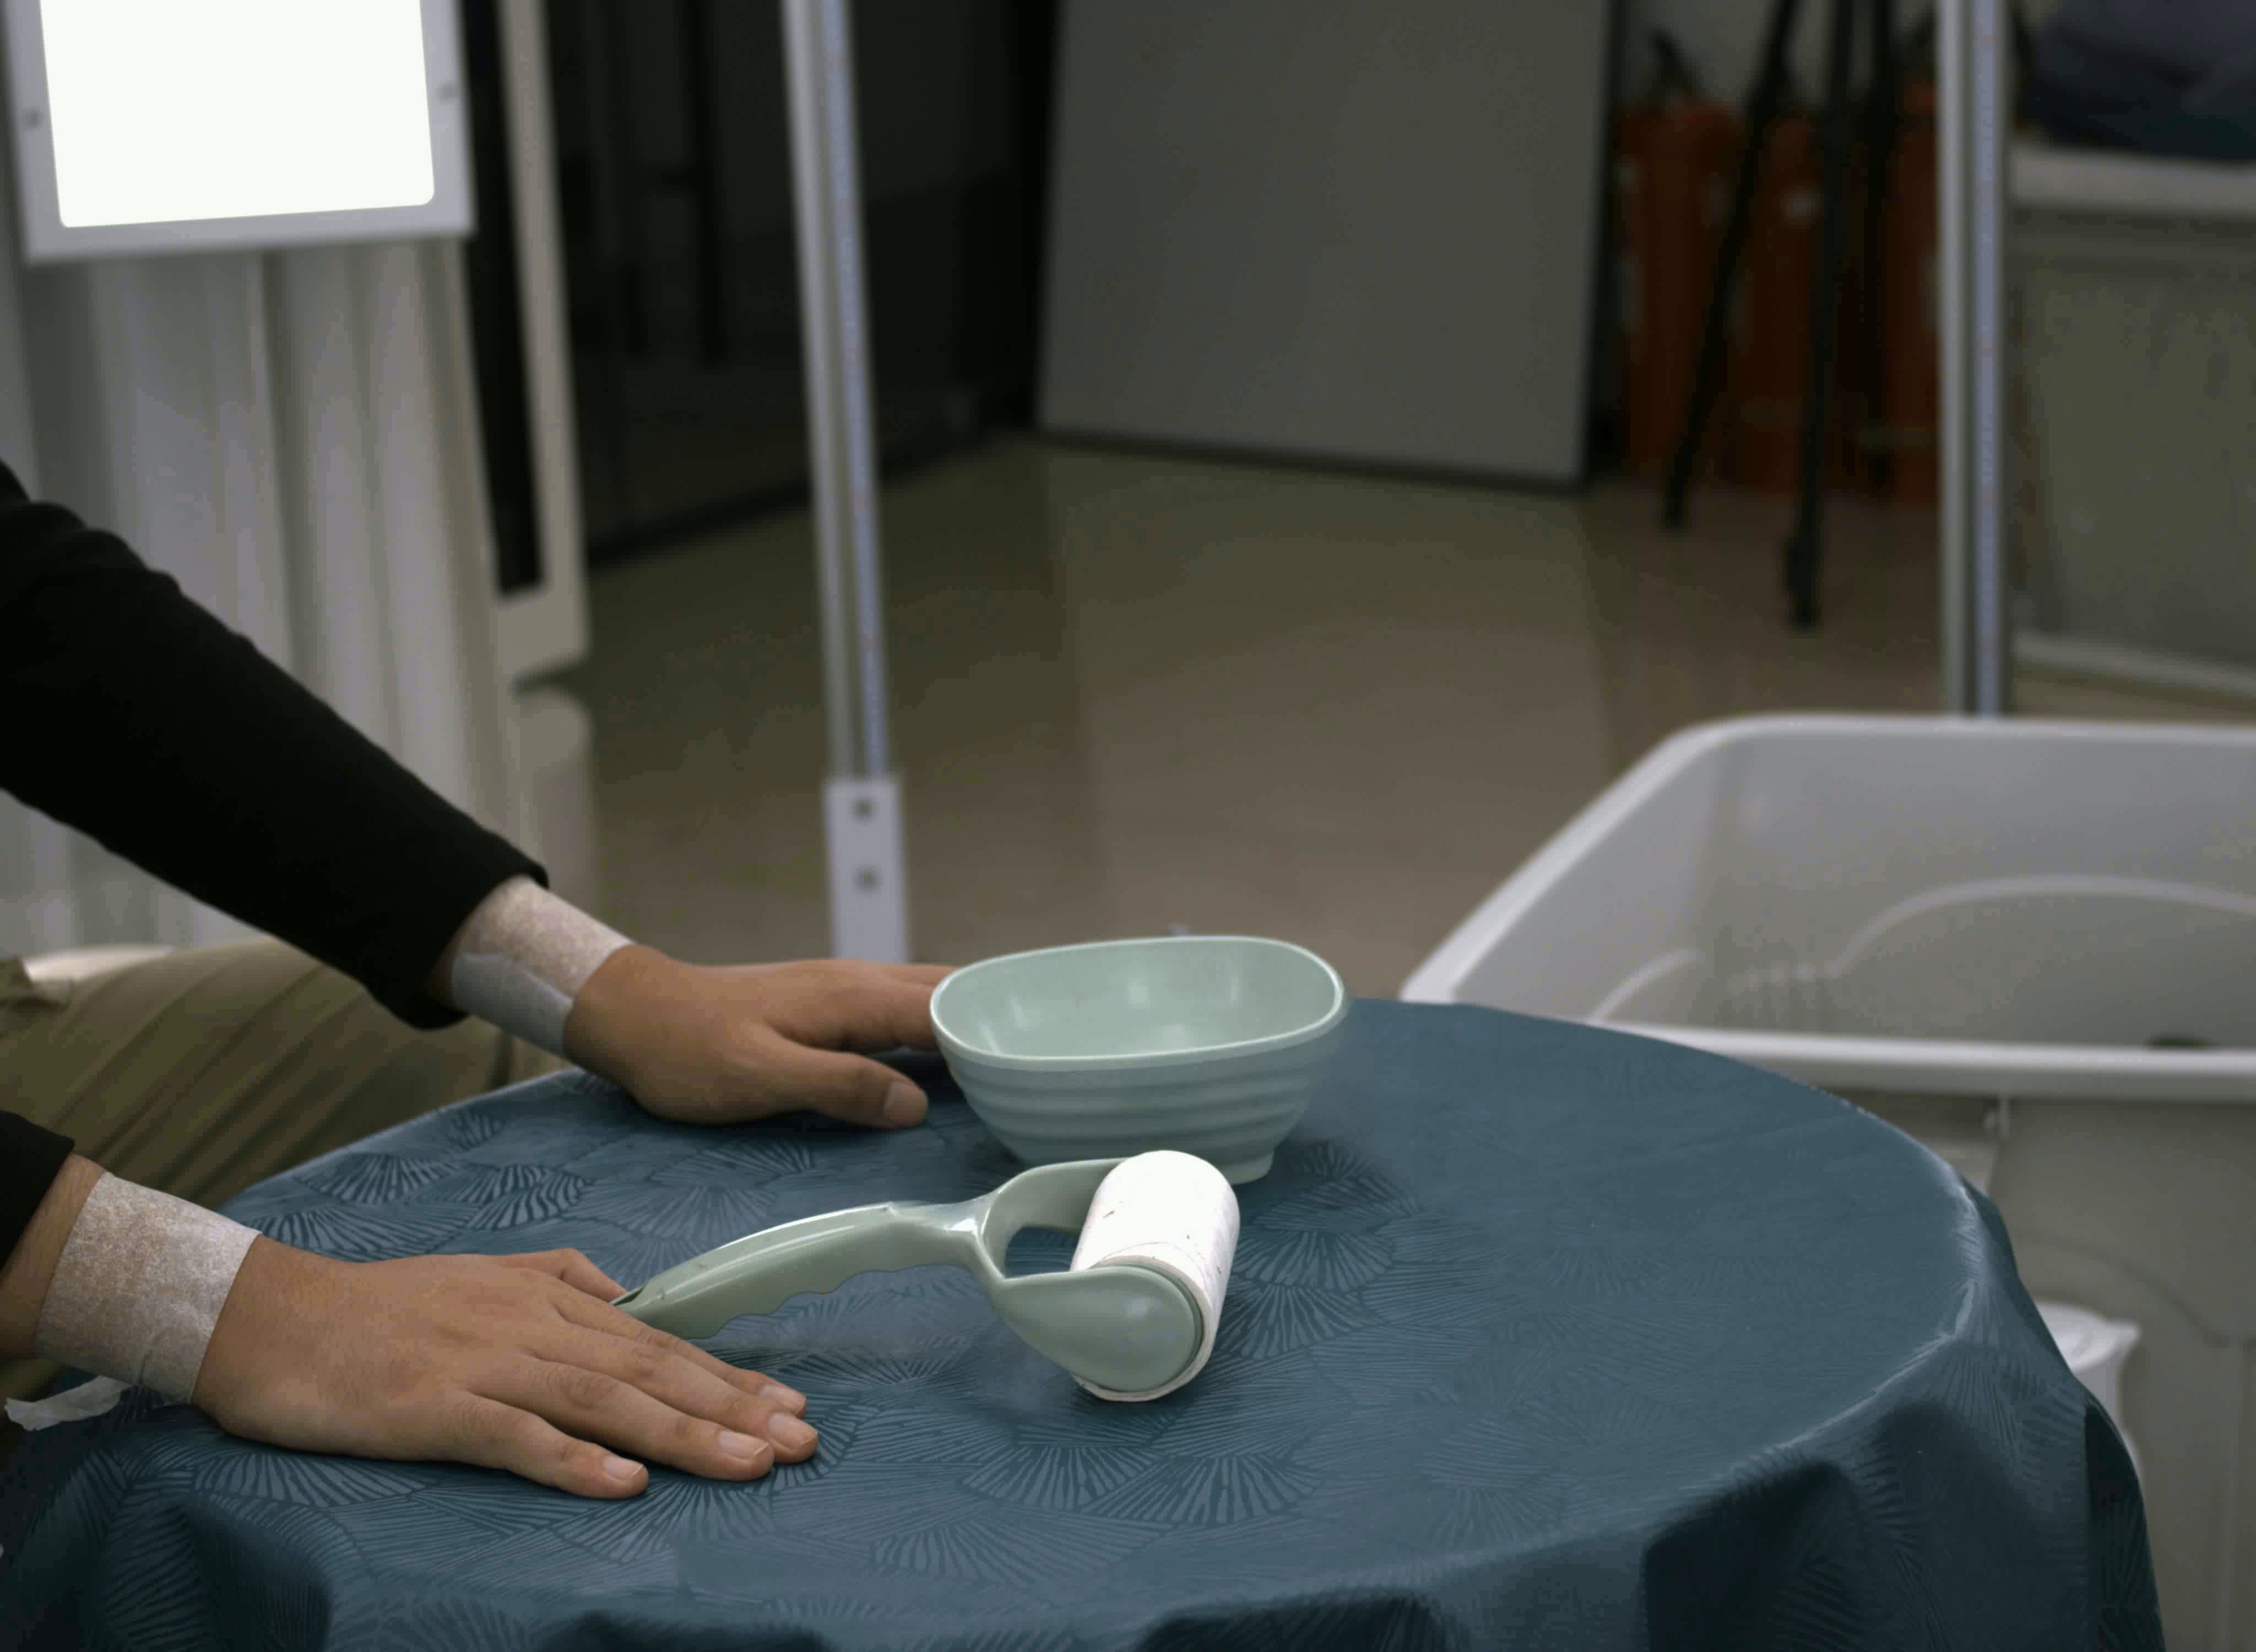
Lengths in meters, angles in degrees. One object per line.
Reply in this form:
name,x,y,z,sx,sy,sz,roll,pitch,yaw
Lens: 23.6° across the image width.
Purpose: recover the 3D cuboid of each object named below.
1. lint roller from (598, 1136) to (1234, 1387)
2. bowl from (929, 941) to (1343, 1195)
lint roller,-0.065,0.136,1.634,0.196,0.049,0.116,-4,15,8
bowl,0.004,0.085,1.798,0.149,0.059,0.152,-3,14,0
